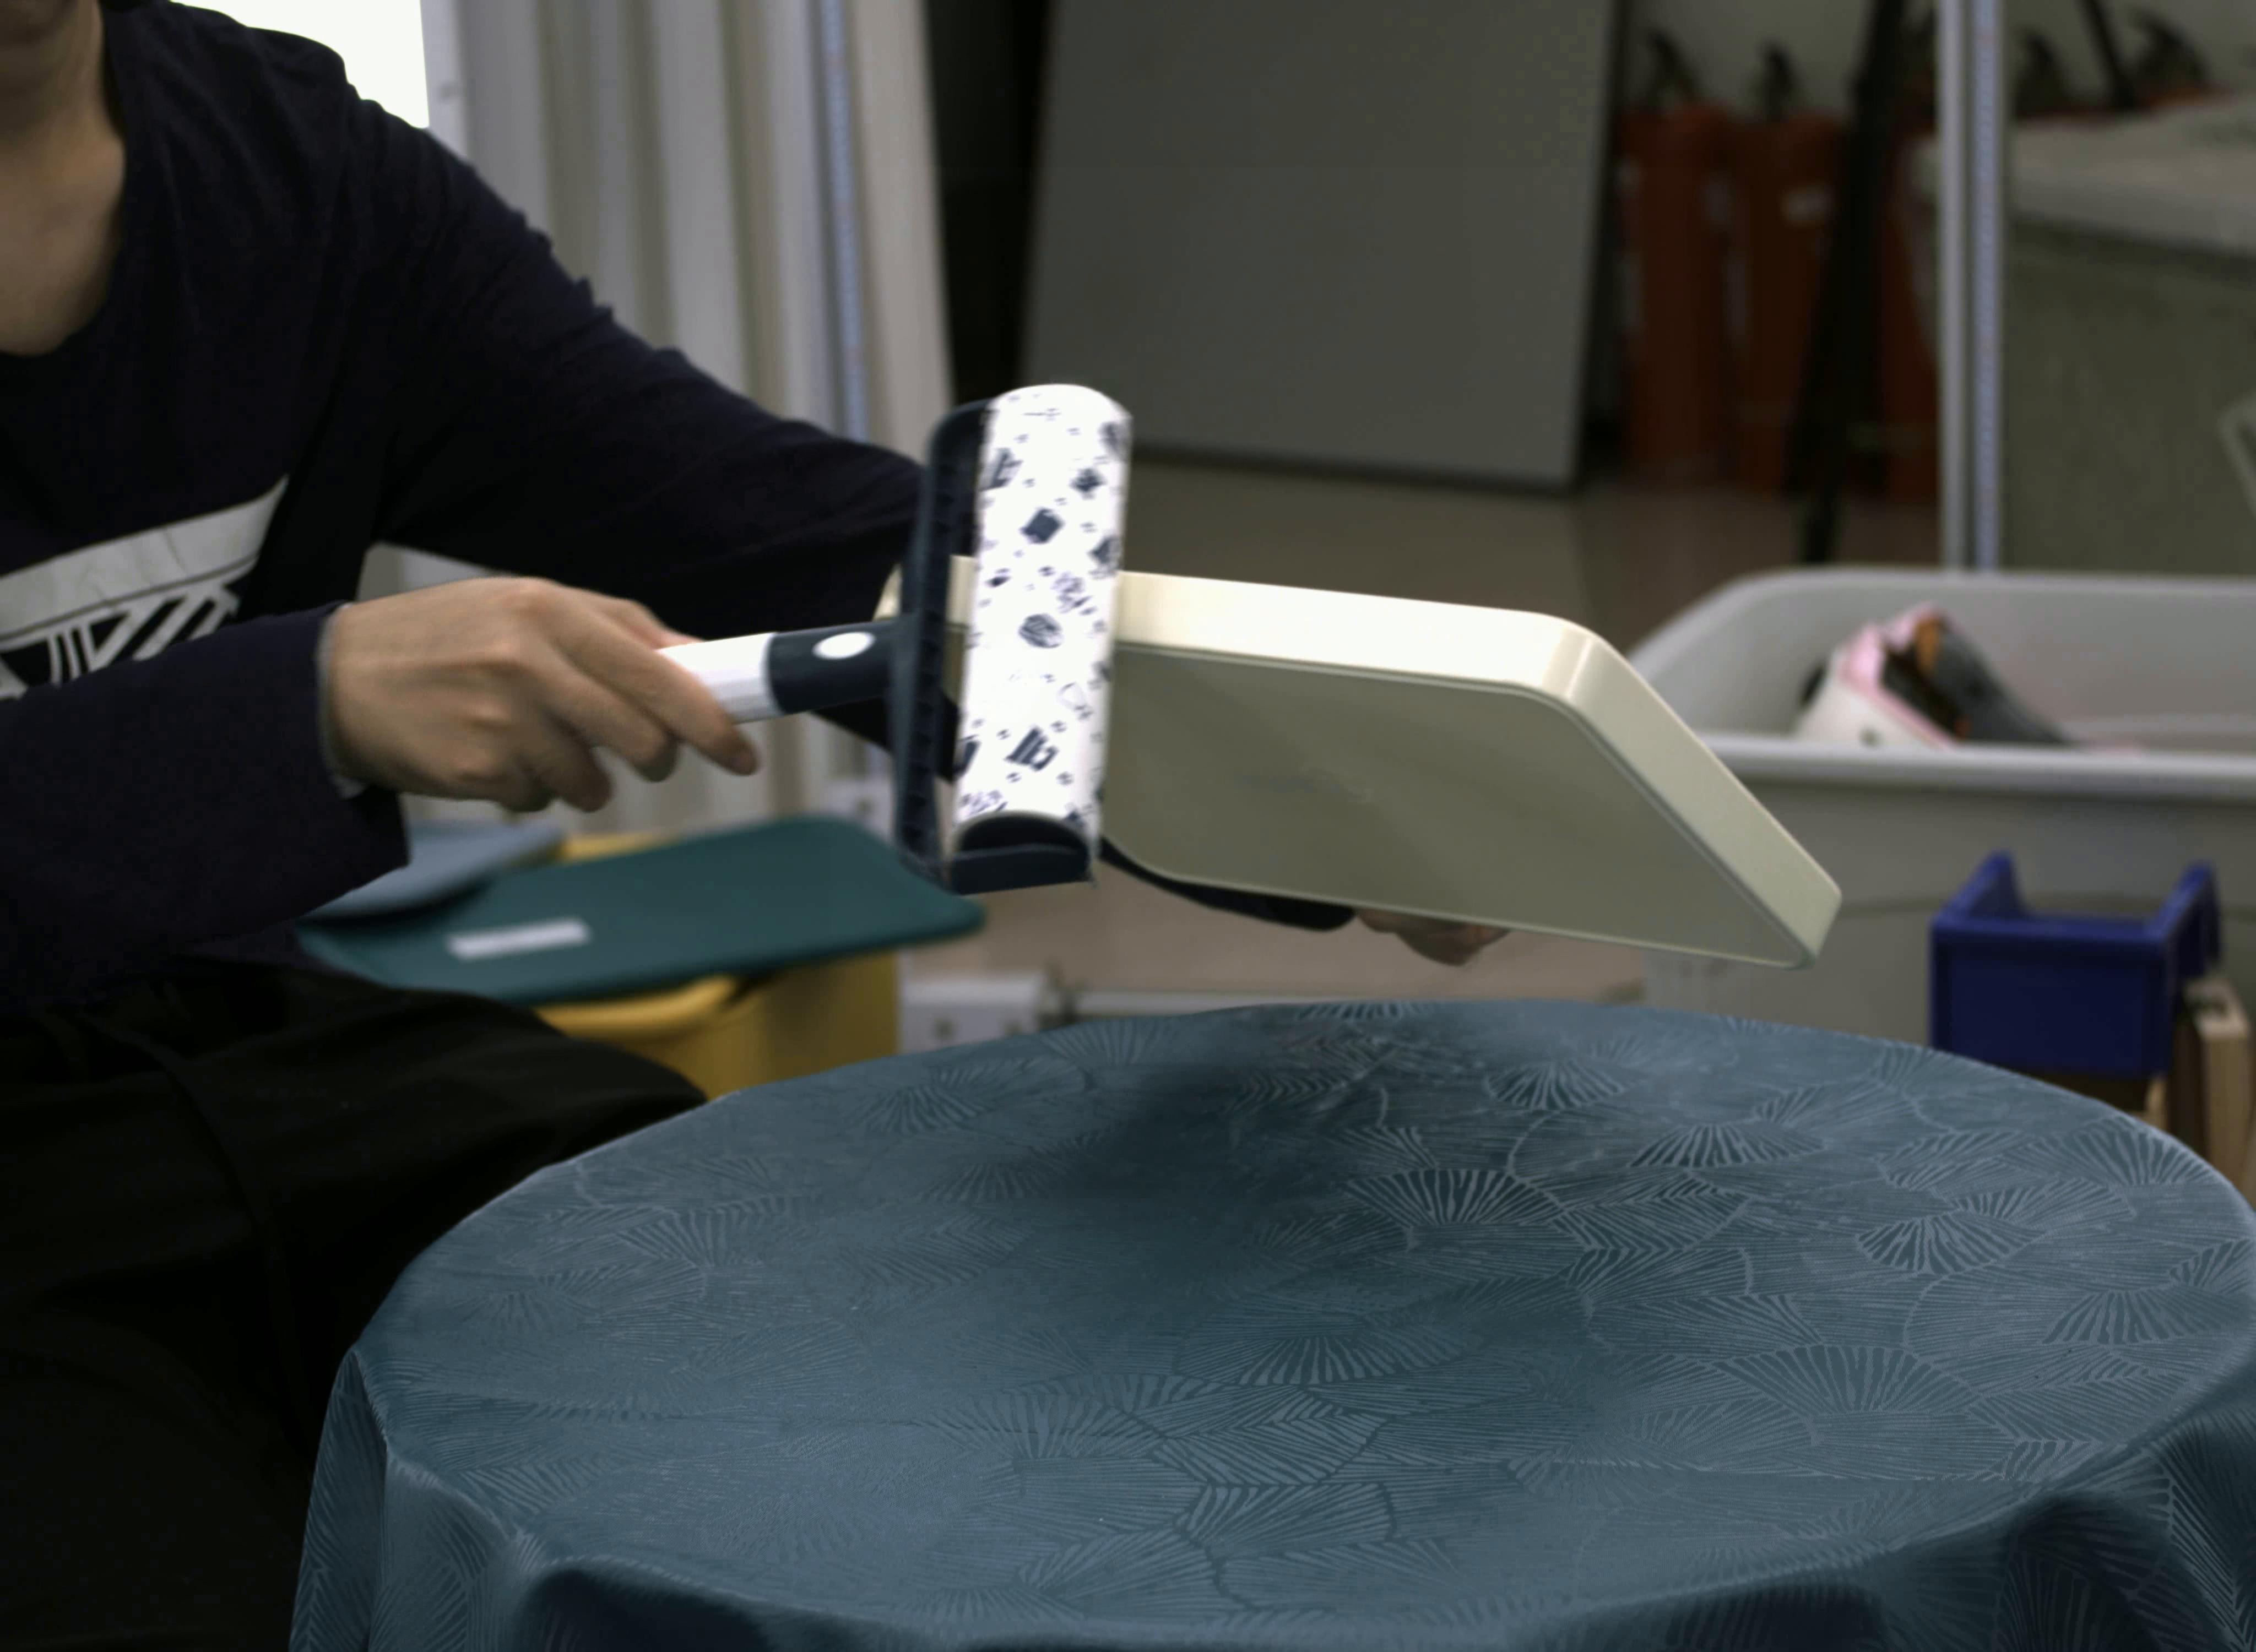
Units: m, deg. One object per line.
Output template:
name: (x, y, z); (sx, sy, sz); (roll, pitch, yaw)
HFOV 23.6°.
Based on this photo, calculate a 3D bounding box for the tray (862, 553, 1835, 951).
tray: (0.069, -0.024, 1.772); (0.303, 0.027, 0.189); (7, -23, 43)

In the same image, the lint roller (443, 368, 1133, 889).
lint roller: (-0.116, -0.049, 1.746); (0.247, 0.178, 0.050); (-10, -33, 22)
